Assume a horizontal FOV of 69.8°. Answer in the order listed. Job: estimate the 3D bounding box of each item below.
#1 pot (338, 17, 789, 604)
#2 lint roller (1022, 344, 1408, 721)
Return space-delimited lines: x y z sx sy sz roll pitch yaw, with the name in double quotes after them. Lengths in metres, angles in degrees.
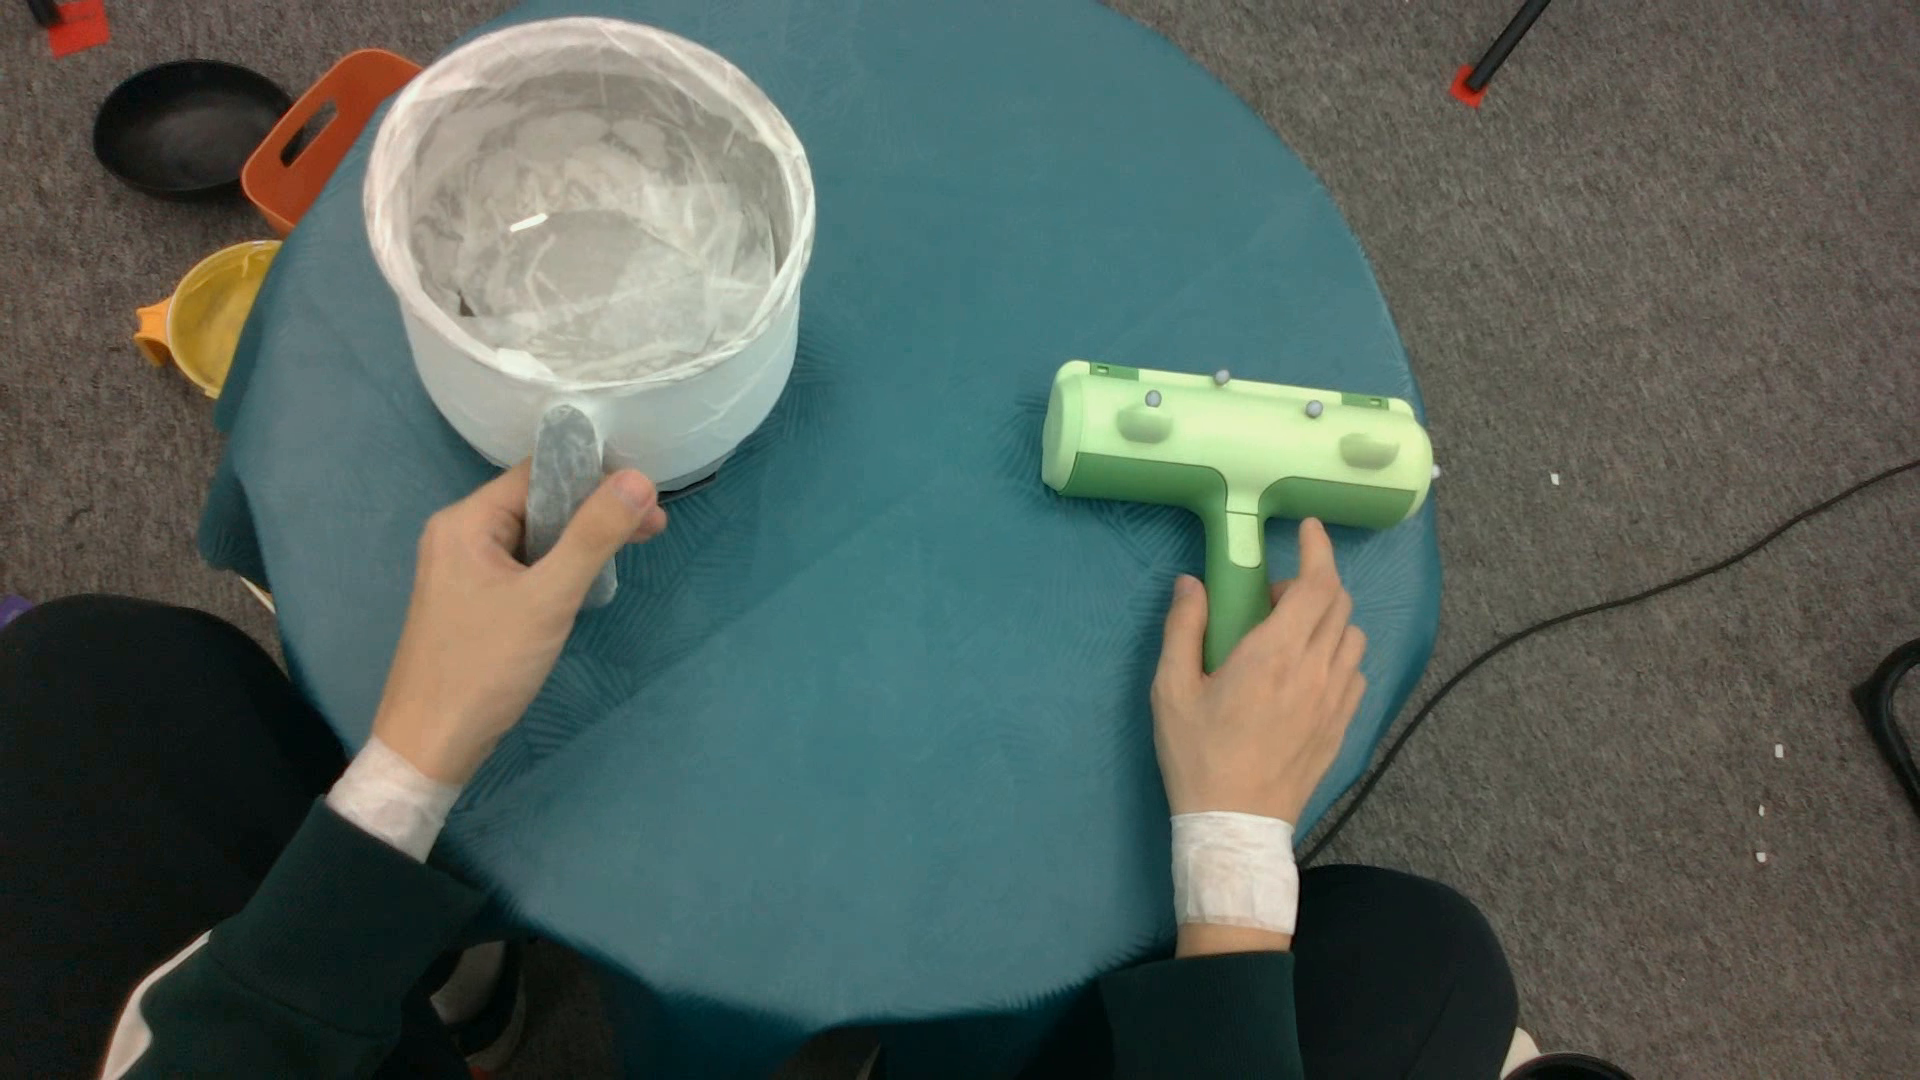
-0.171 -0.095 0.610 0.179 0.136 0.234 3 69 -11 "pot"
0.132 -0.009 0.677 0.199 0.082 0.184 5 64 -11 "lint roller"
